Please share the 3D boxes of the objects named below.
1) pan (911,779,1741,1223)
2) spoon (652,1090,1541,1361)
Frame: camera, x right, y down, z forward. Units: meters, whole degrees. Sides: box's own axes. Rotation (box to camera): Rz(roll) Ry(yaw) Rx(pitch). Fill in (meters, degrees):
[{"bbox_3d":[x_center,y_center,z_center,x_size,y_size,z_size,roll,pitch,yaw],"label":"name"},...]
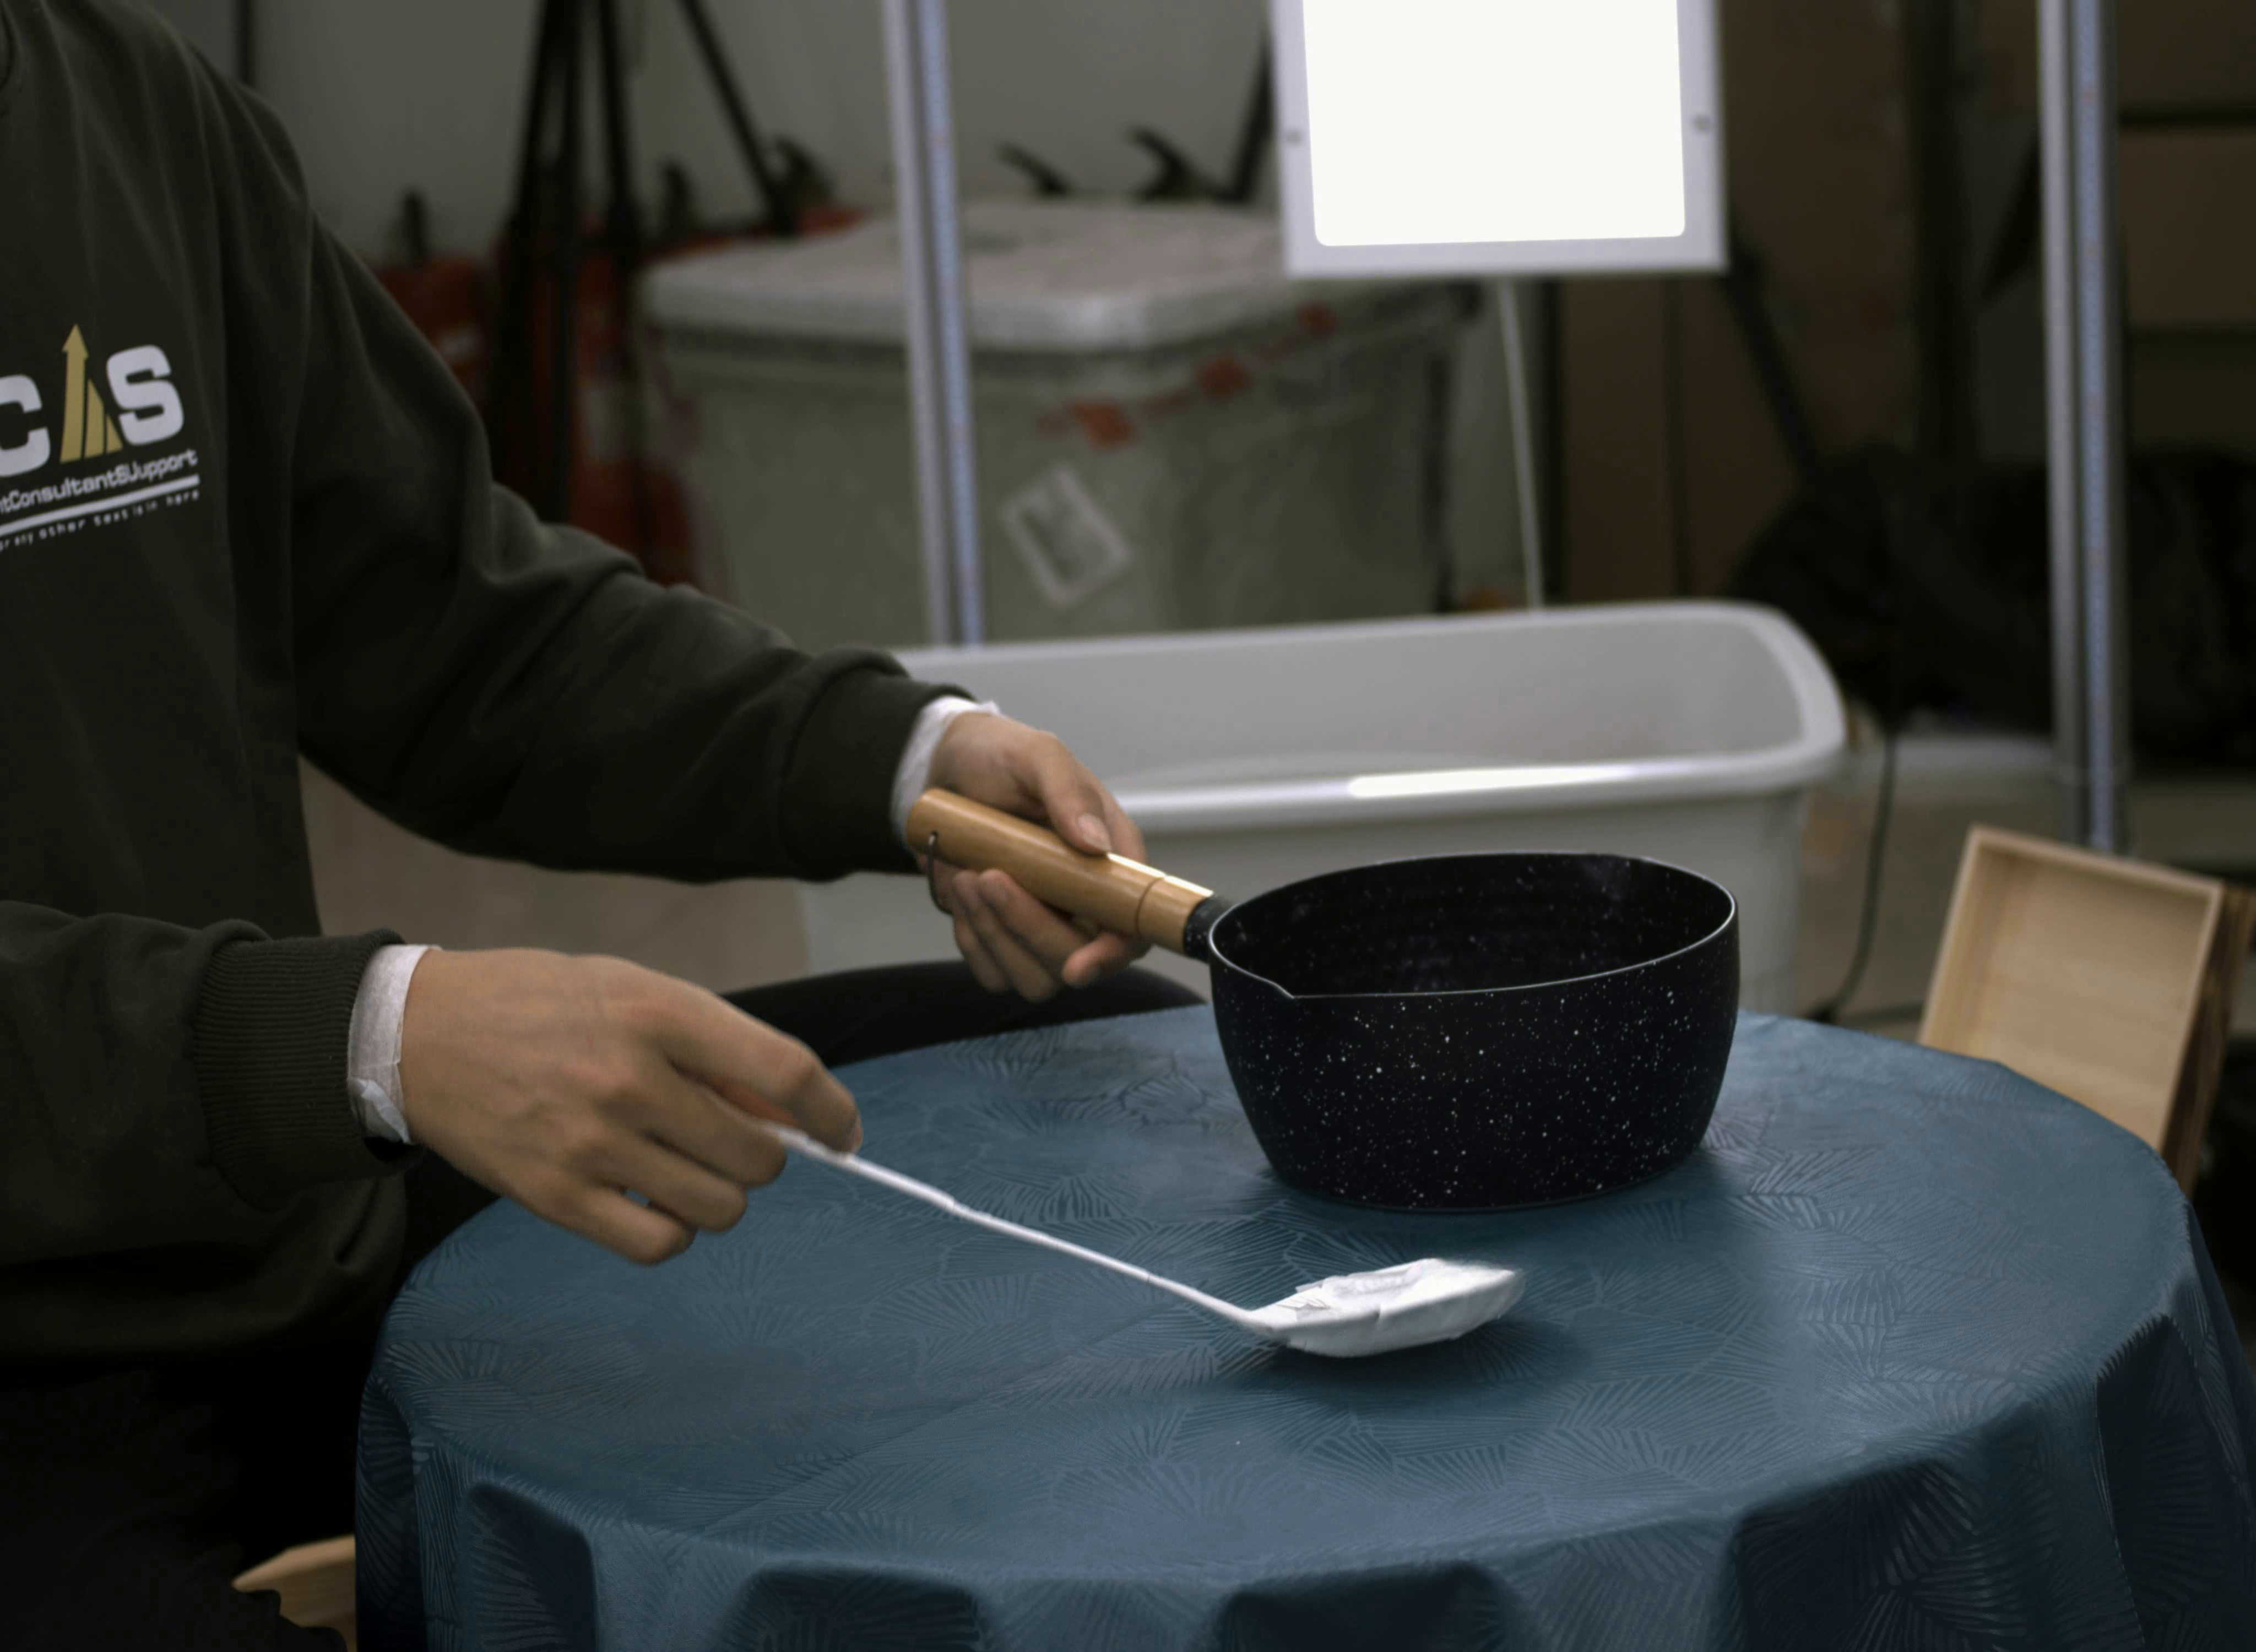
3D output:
[{"bbox_3d":[0.058,0.054,1.951,0.350,0.108,0.202,8,20,38],"label":"pan"},{"bbox_3d":[-0.010,0.109,1.716,0.277,0.059,0.100,21,1,1],"label":"spoon"}]
